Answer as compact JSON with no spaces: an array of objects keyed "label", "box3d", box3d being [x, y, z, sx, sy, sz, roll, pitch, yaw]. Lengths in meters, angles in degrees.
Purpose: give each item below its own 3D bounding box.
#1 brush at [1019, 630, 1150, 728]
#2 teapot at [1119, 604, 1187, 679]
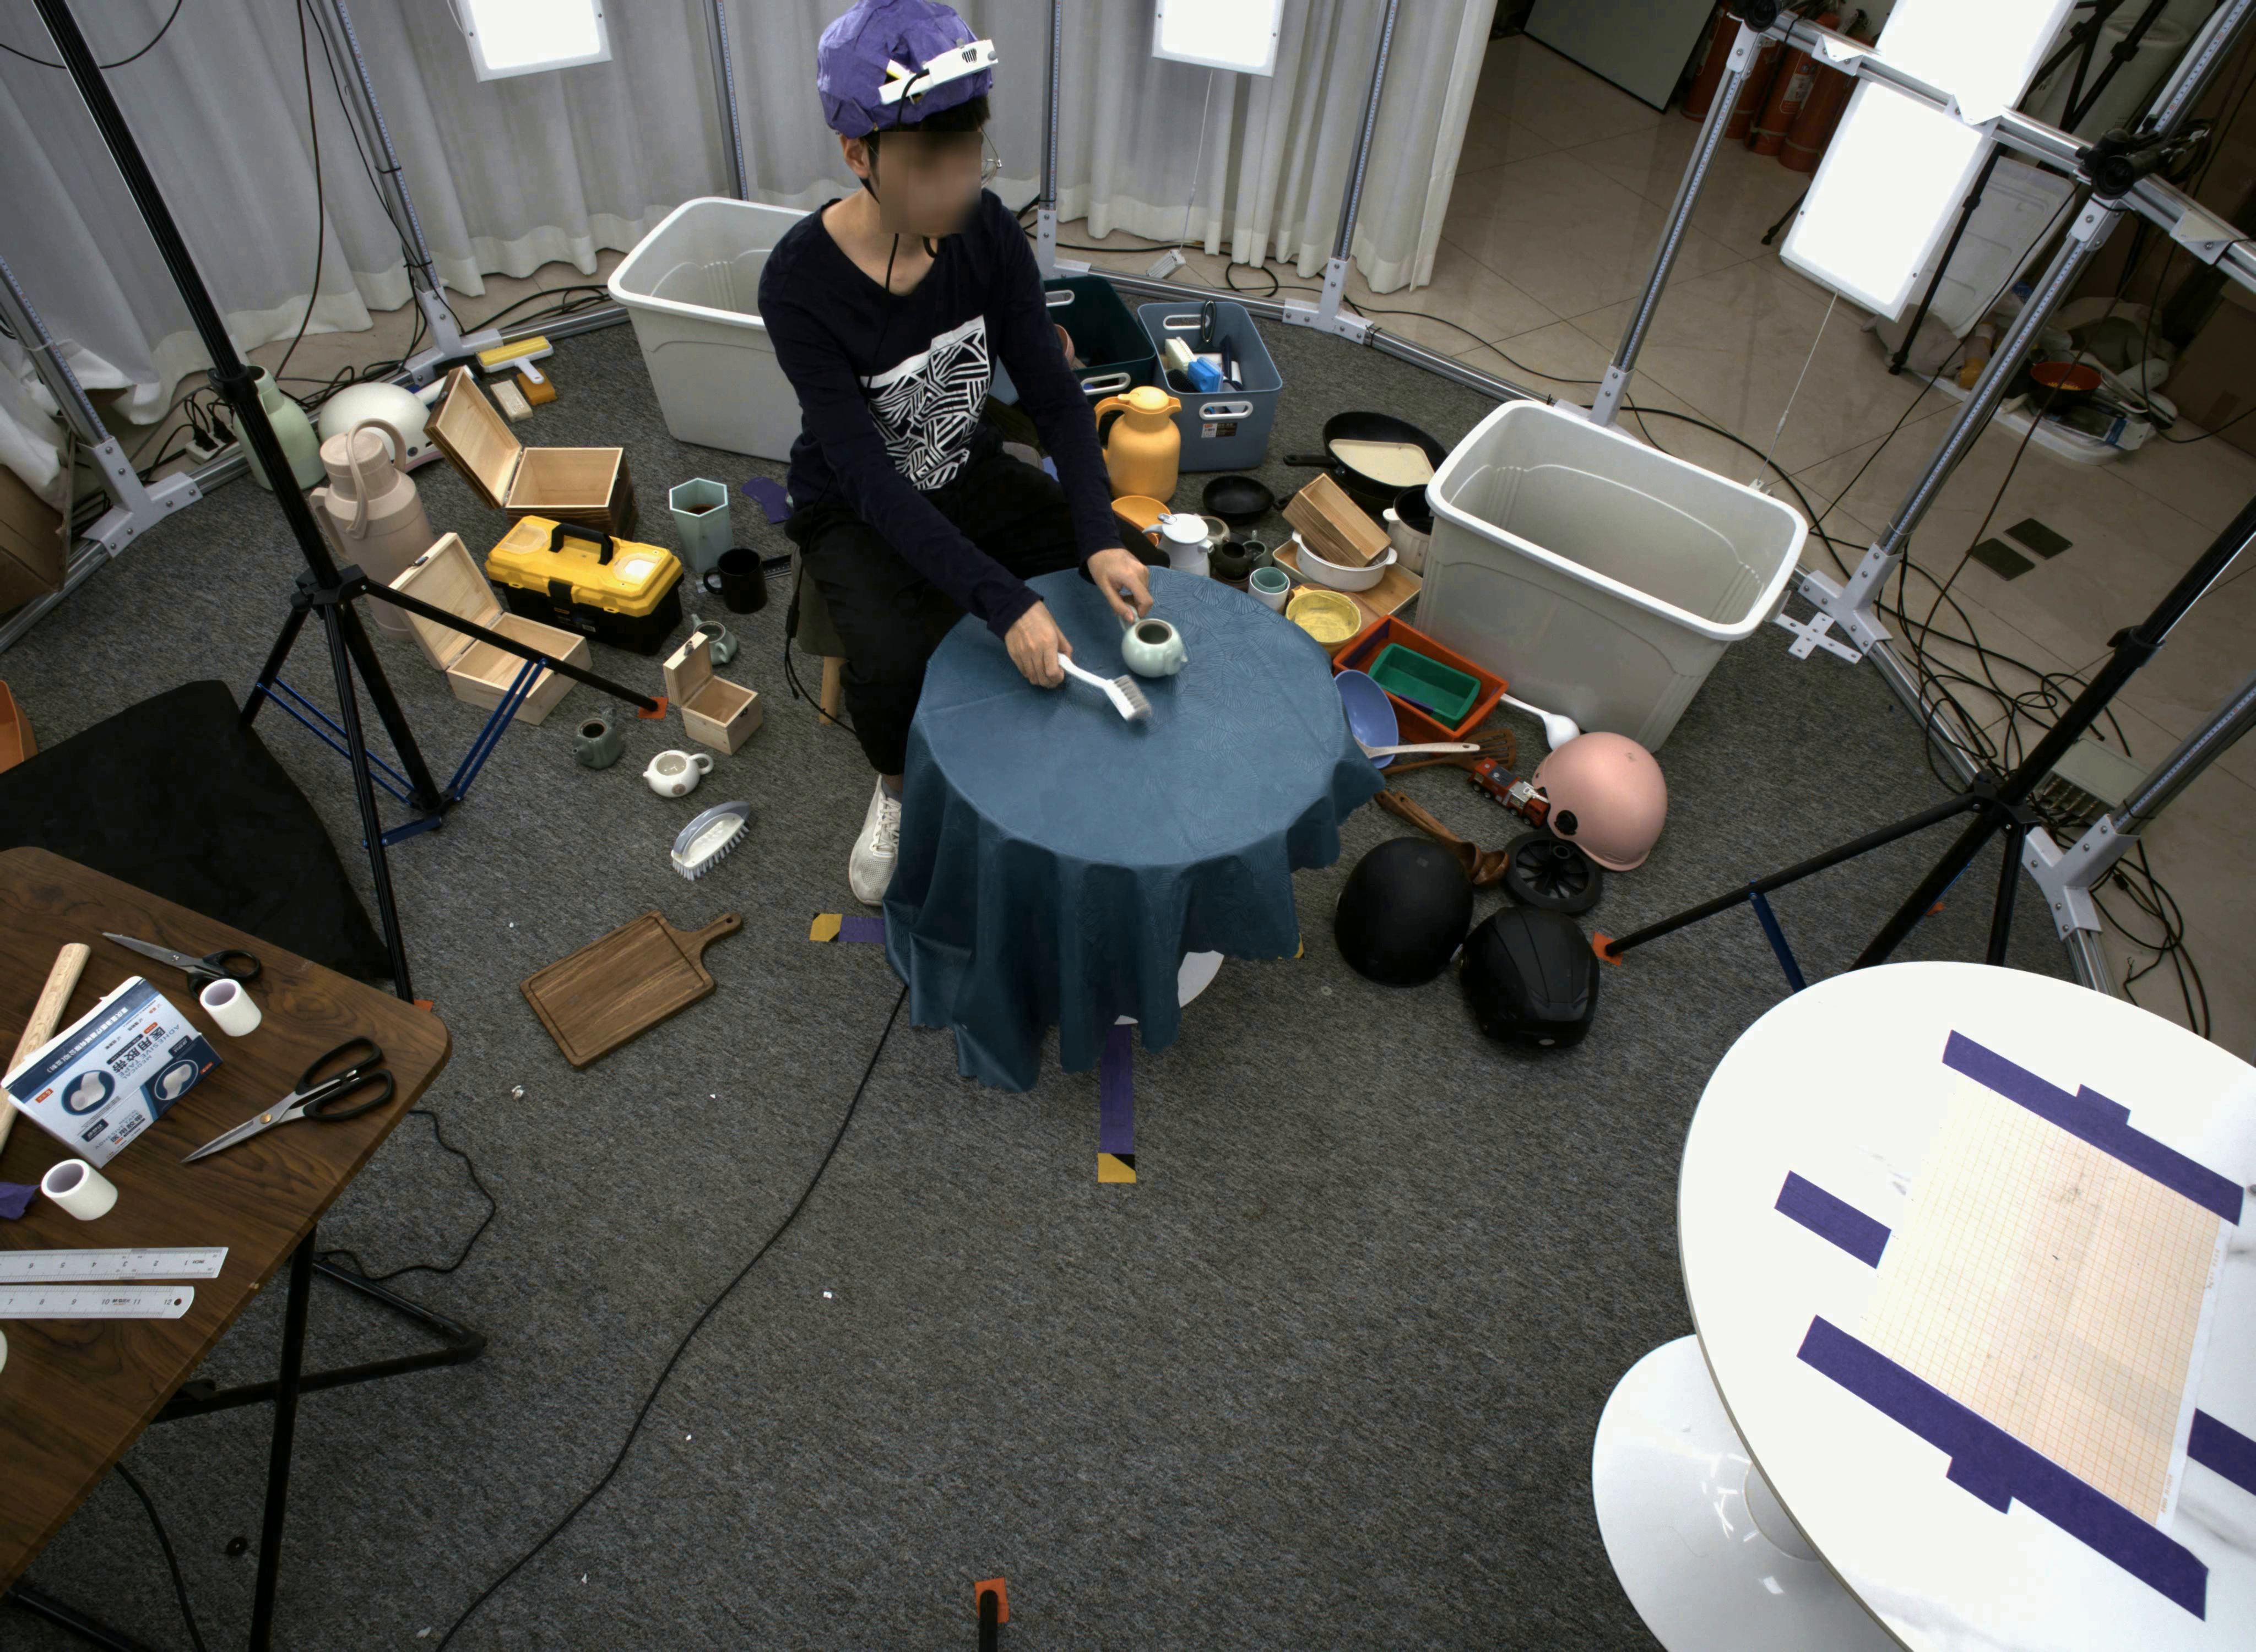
[{"label":"brush","box3d":[-0.061,-0.222,1.814,0.247,0.034,0.050,42,95,25]},{"label":"teapot","box3d":[0.035,-0.256,1.847,0.089,0.073,0.146,-28,57,-24]}]
